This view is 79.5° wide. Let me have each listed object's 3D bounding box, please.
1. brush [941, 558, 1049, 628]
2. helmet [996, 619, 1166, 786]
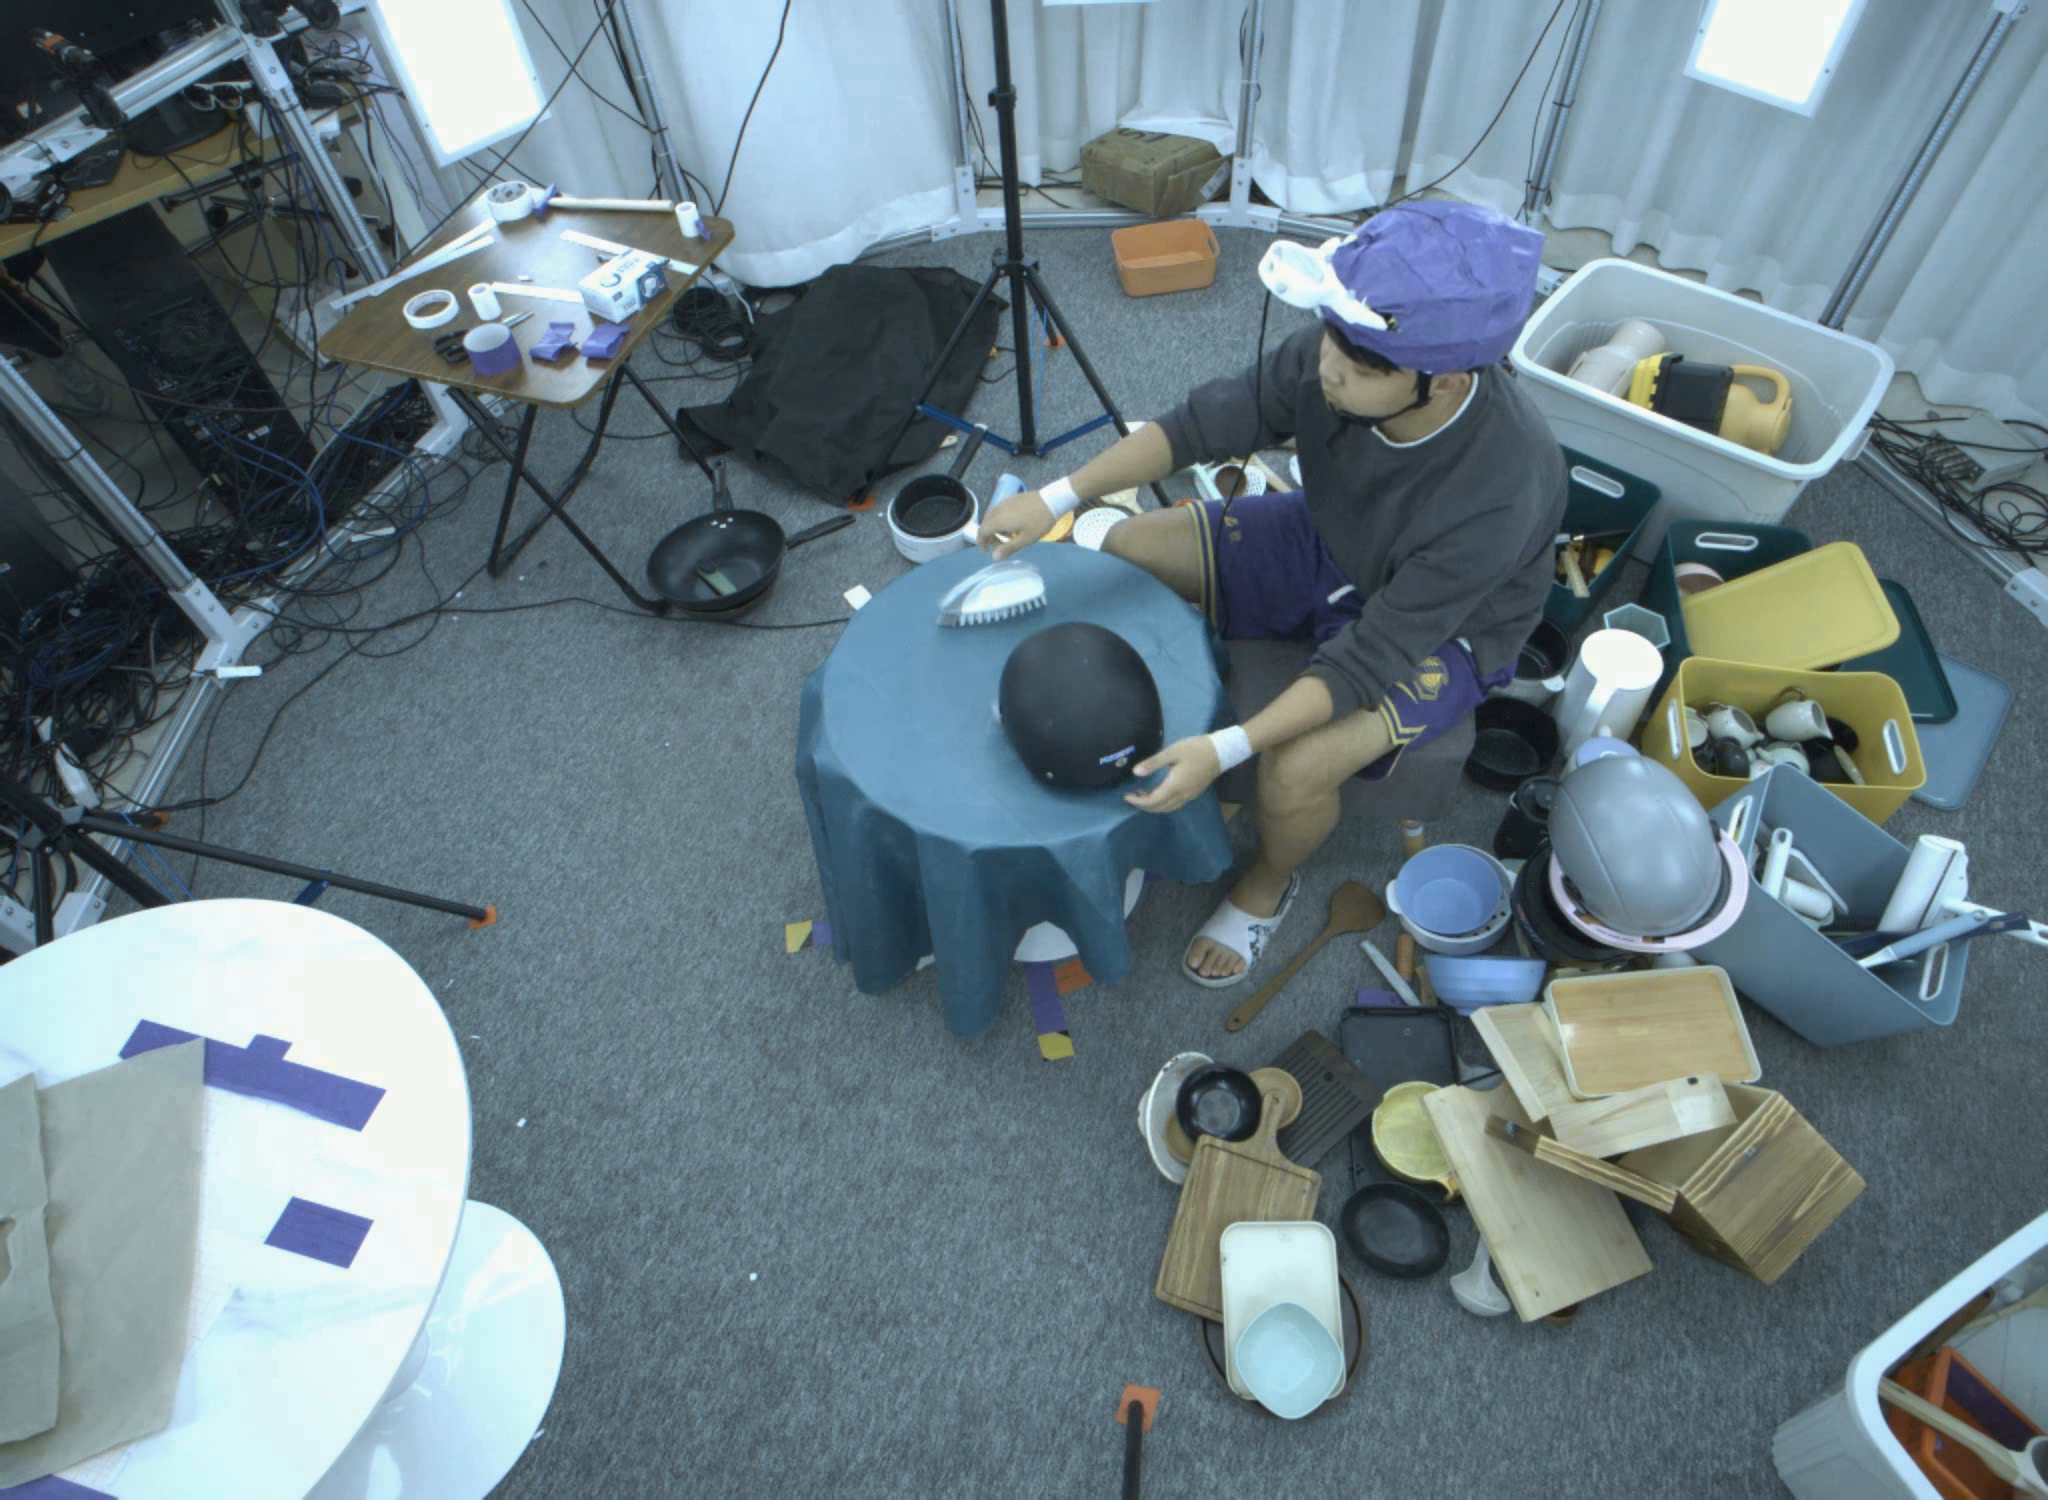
[{"bbox_3d":[-0.052,-0.247,1.911,0.176,0.095,0.060,-19,53,-9],"label":"brush"},{"bbox_3d":[0.078,-0.087,1.751,0.231,0.168,0.268,-19,54,-11],"label":"helmet"}]
